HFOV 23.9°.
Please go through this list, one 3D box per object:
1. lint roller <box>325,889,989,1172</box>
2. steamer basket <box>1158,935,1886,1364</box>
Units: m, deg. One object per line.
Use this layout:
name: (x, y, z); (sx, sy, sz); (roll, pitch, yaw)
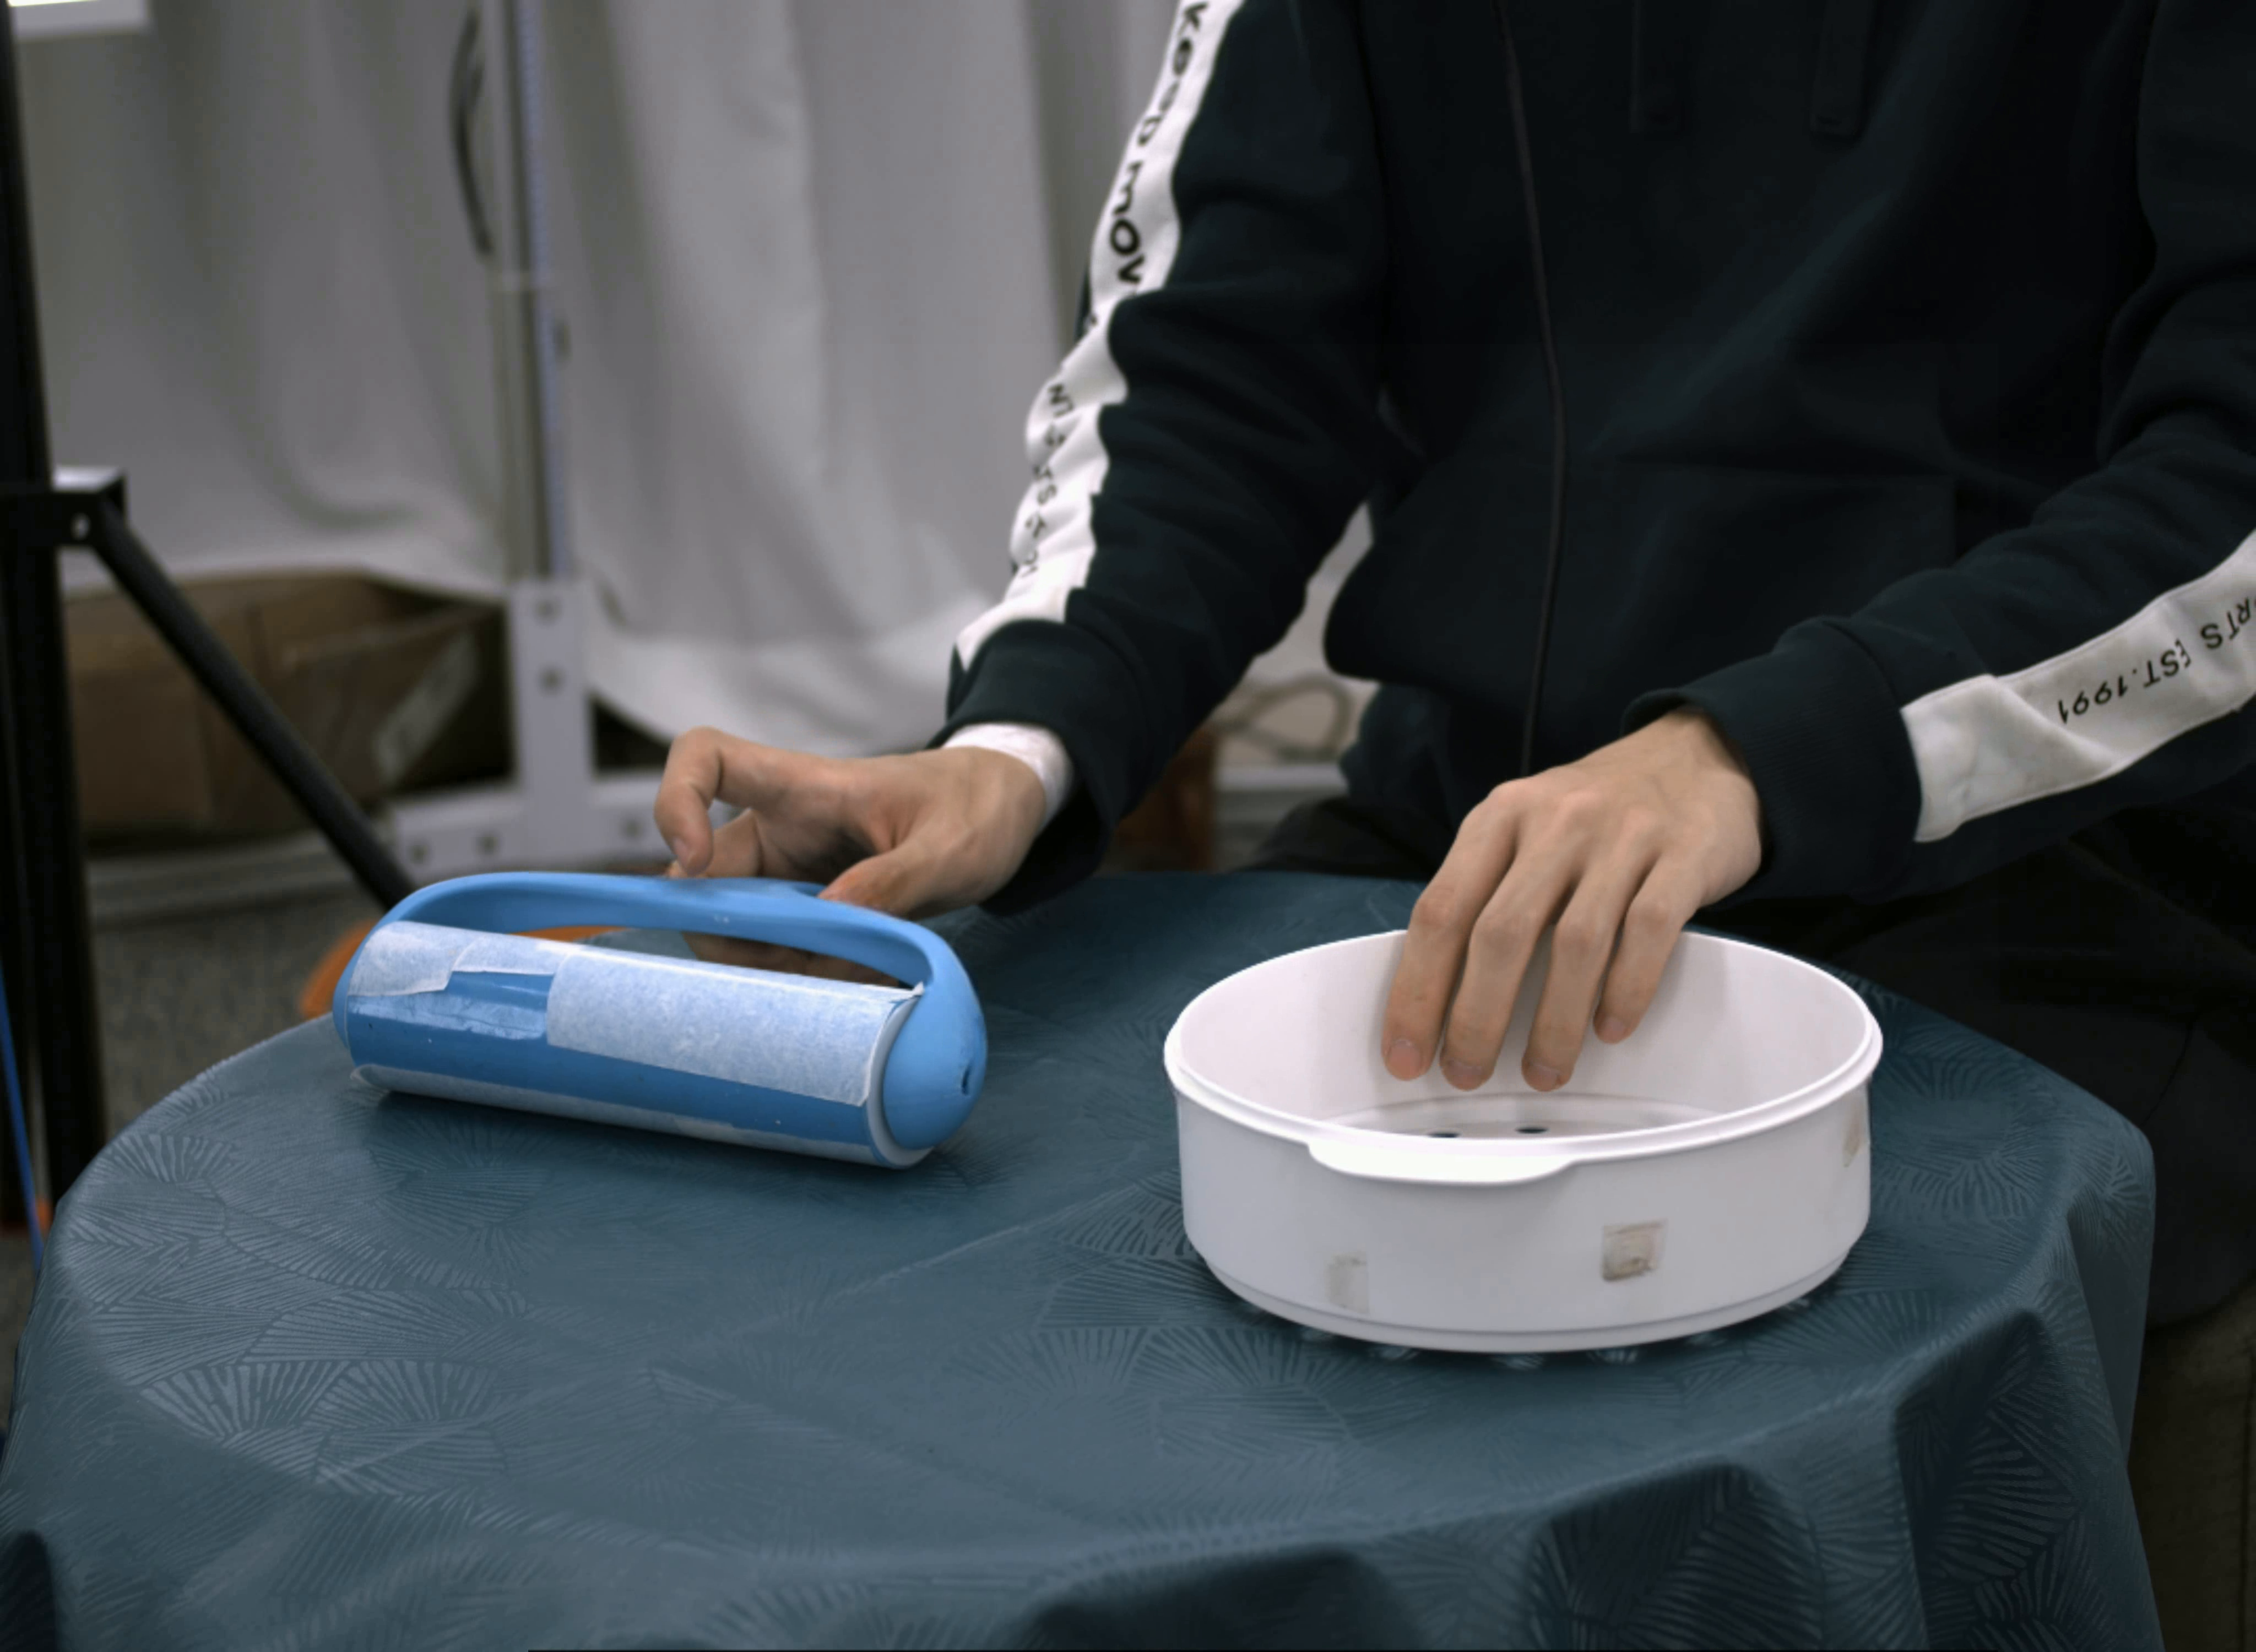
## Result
lint roller: (-0.123, 0.051, 1.679); (0.232, 0.068, 0.177); (3, 18, 26)
steamer basket: (0.110, 0.090, 1.480); (0.204, 0.069, 0.228); (3, 16, 18)
